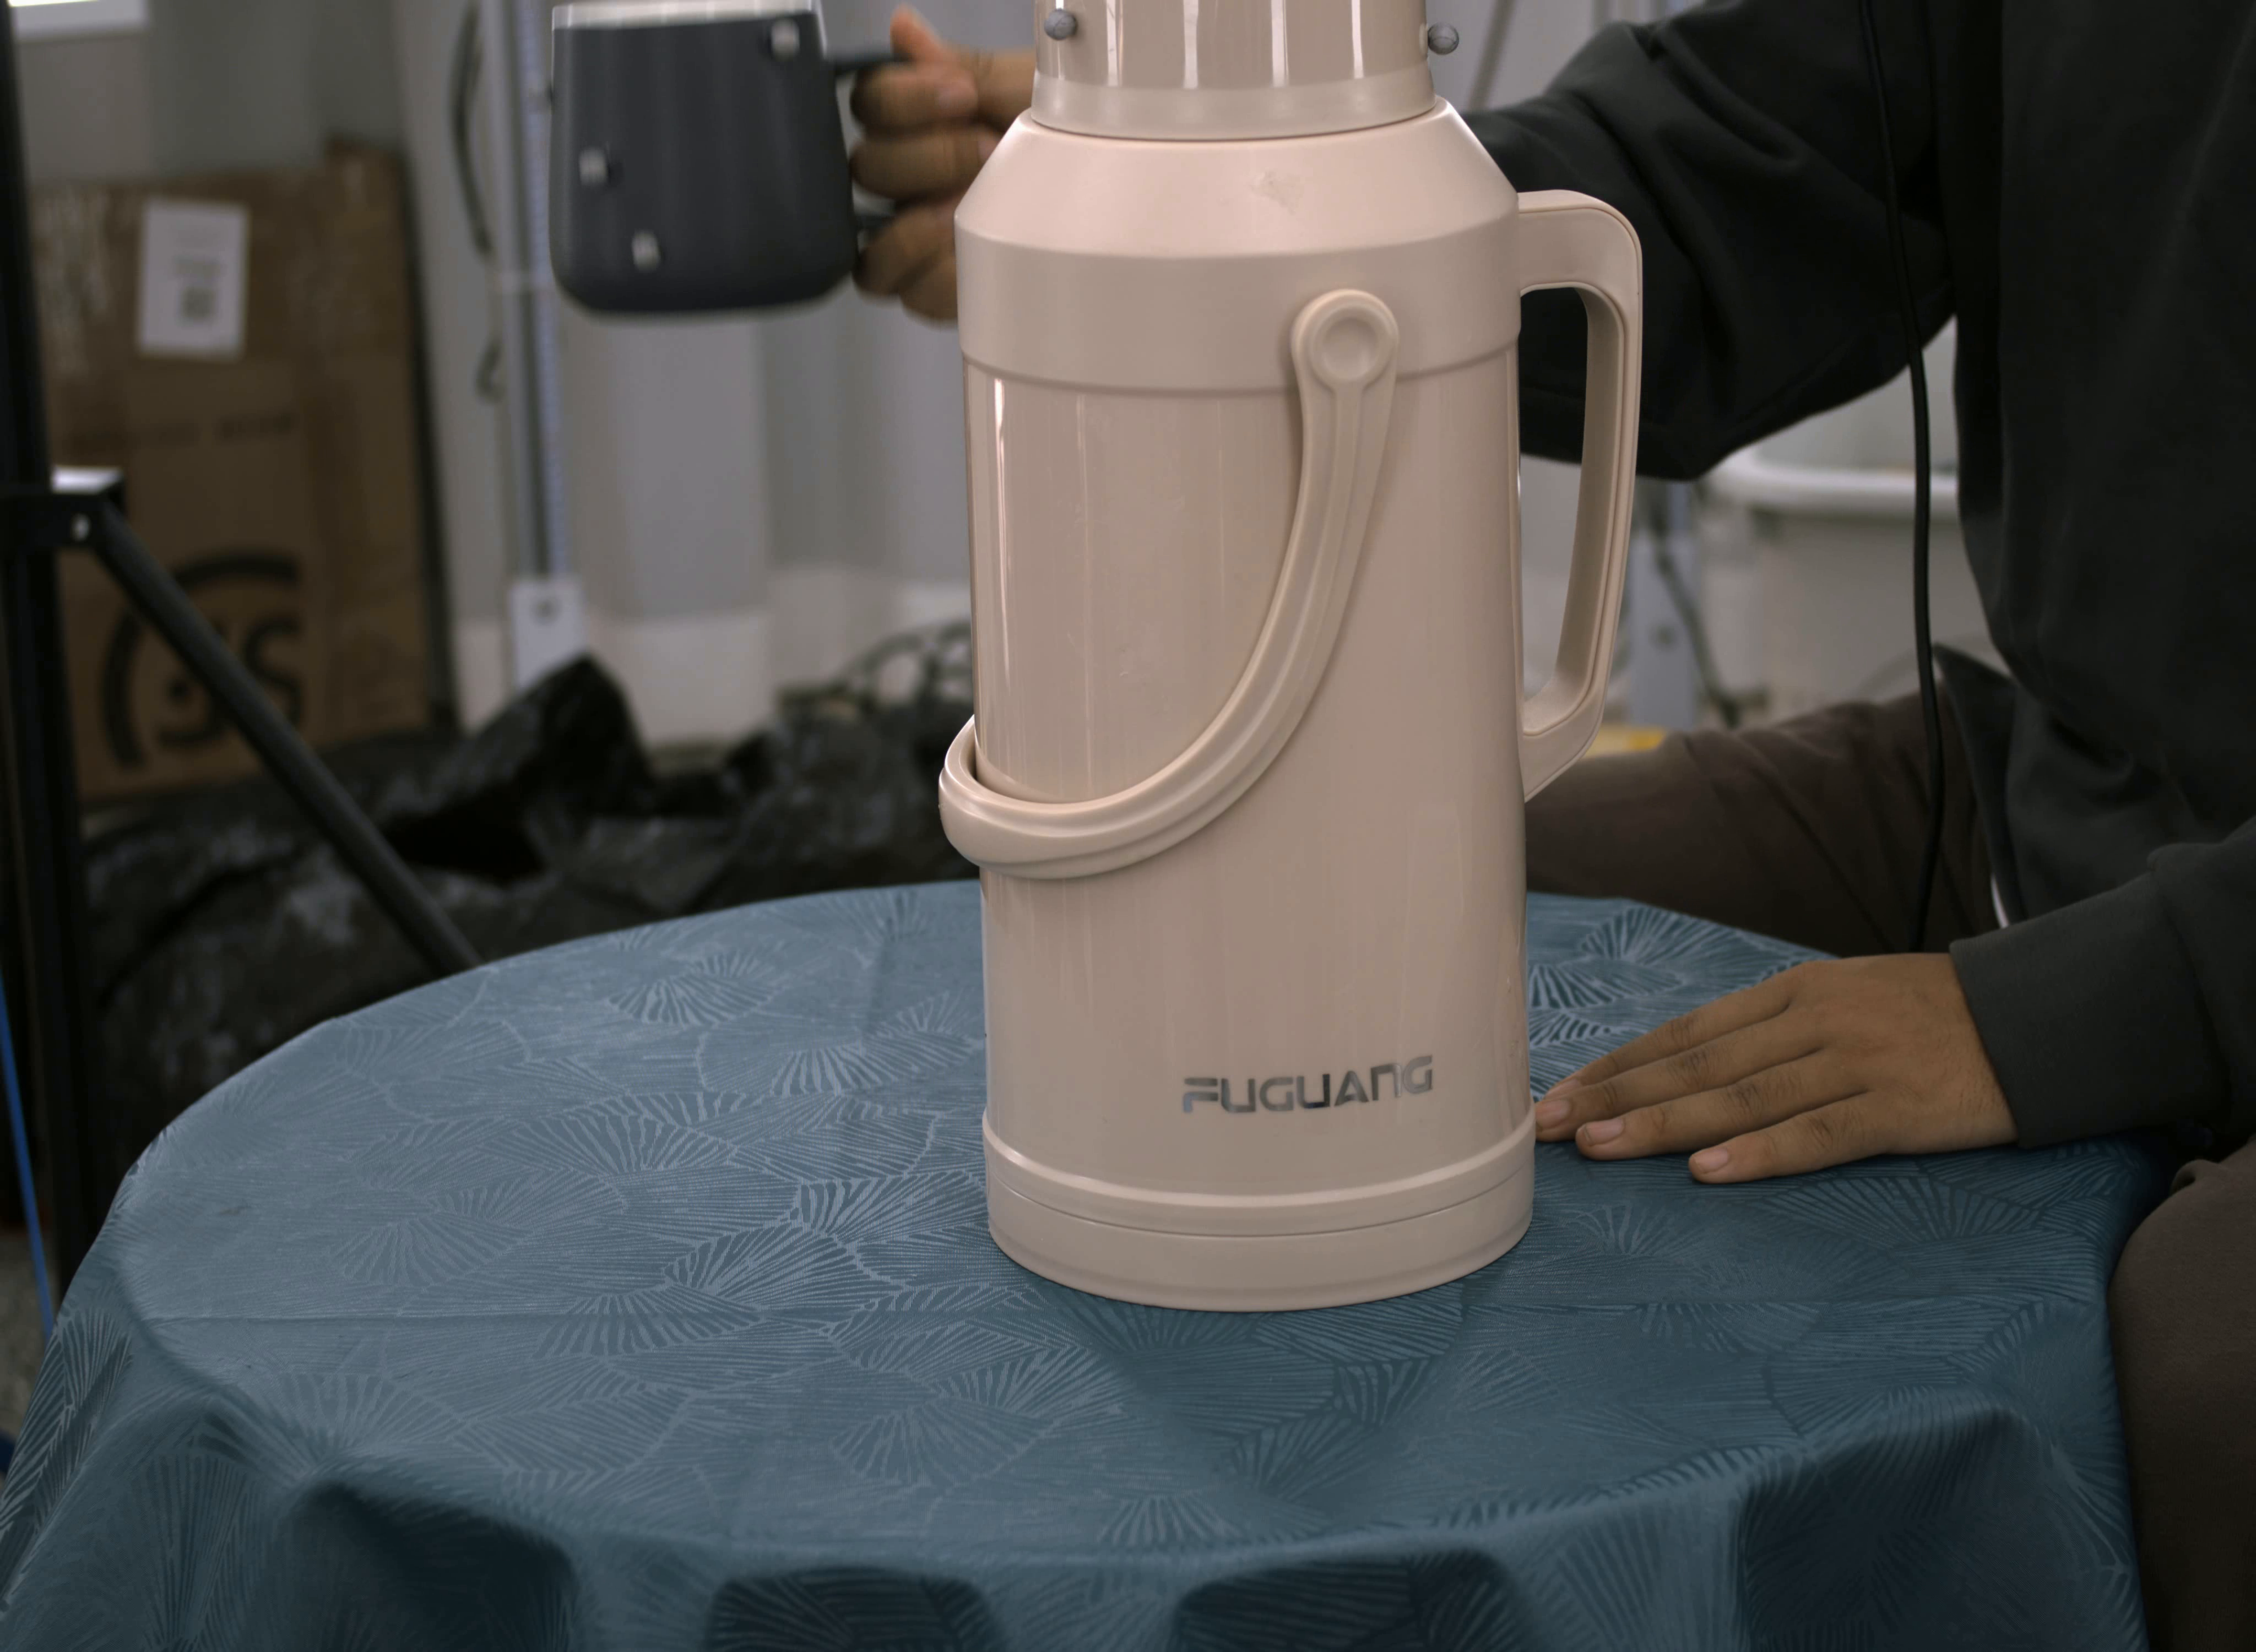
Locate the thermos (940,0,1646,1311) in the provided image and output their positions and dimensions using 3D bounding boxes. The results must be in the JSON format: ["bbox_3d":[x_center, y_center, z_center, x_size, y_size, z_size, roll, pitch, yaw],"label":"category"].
[{"bbox_3d":[0.047,-0.080,1.488,0.203,0.406,0.178,-7,15,-17],"label":"thermos"}]

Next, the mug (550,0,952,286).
[{"bbox_3d":[-0.114,-0.211,1.611,0.122,0.090,0.094,-4,9,-5],"label":"mug"}]
